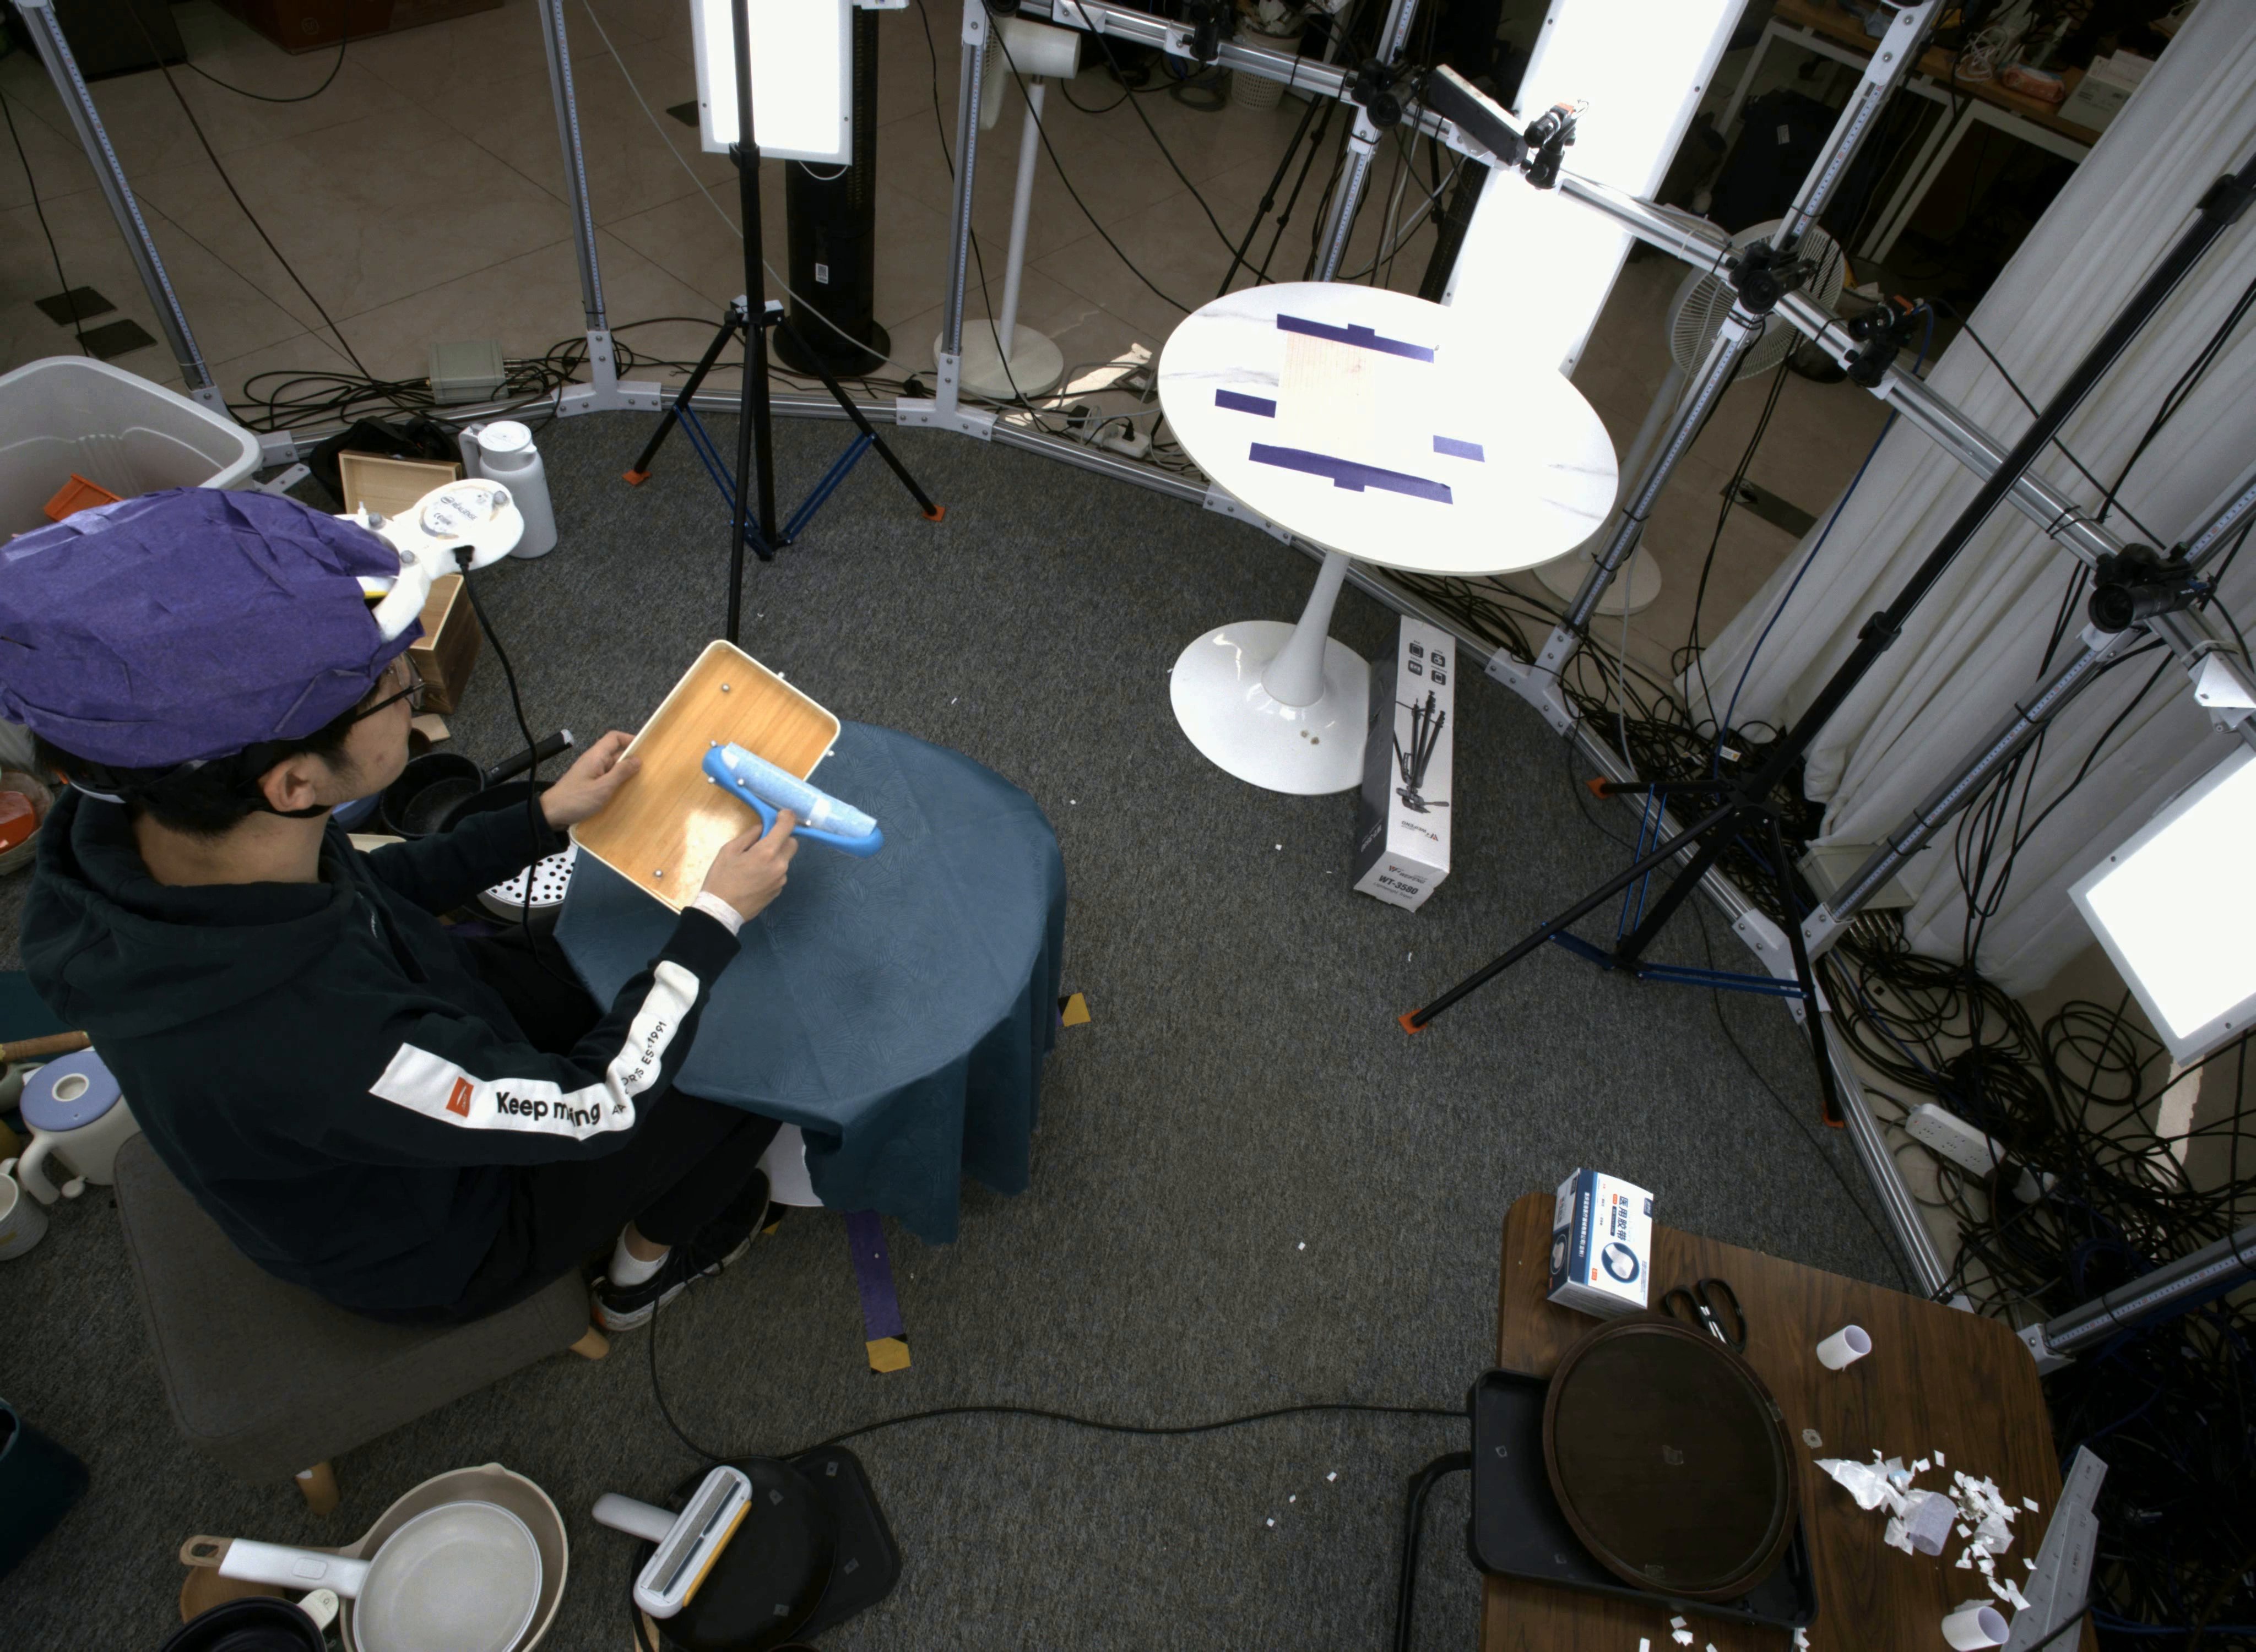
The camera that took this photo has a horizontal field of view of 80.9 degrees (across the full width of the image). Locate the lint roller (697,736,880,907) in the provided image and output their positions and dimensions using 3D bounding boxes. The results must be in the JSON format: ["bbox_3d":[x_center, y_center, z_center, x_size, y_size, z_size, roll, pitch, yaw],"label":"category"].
[{"bbox_3d":[-0.407,0.007,1.478,0.232,0.068,0.178,28,49,-18],"label":"lint roller"}]

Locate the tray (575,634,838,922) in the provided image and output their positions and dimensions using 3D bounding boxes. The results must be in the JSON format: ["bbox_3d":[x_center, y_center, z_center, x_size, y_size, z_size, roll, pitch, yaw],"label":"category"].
[{"bbox_3d":[-0.504,-0.059,1.536,0.193,0.027,0.300,36,77,-9],"label":"tray"}]
